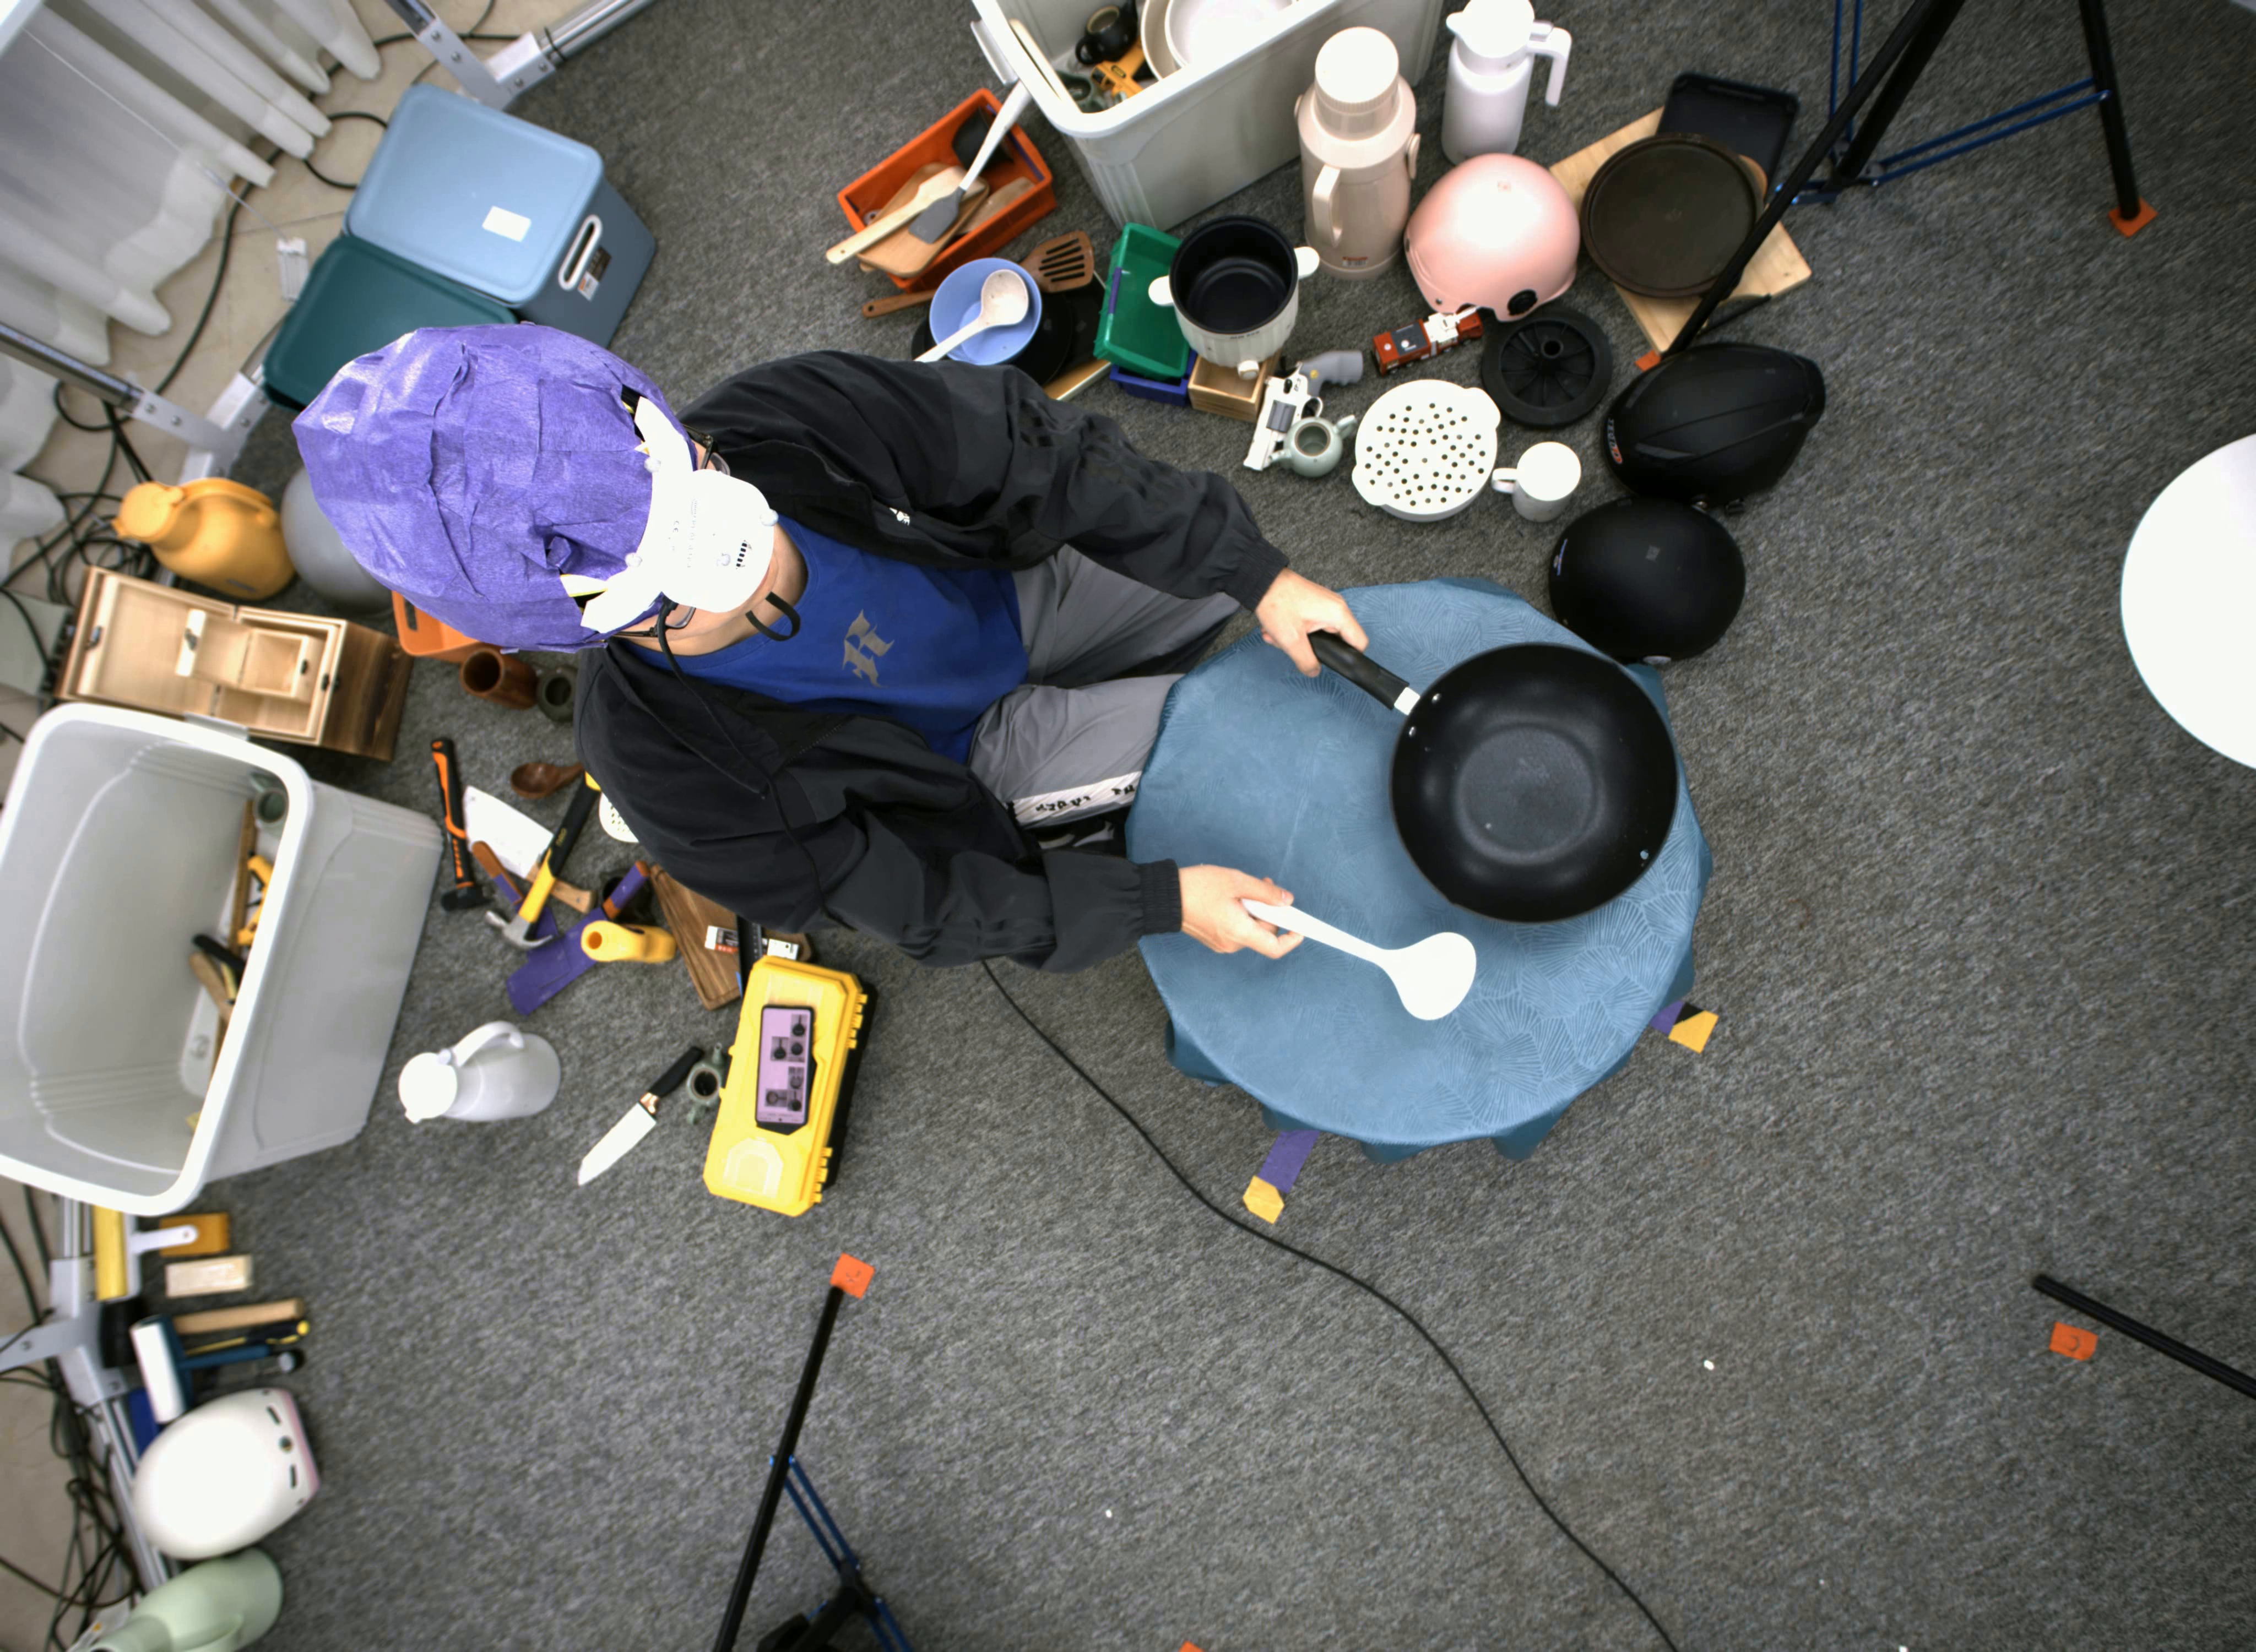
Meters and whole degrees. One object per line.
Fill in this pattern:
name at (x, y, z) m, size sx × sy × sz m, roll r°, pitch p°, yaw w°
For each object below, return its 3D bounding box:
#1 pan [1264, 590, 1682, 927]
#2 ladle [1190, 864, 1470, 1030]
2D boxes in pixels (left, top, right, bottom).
pan at (0.331, -0.093, 1.395) m, size 0.461 × 0.087 × 0.289 m, roll 36°, pitch 96°, yaw 12°
ladle at (0.194, 0.107, 1.367) m, size 0.292 × 0.070 × 0.090 m, roll 25°, pitch 87°, yaw 13°
